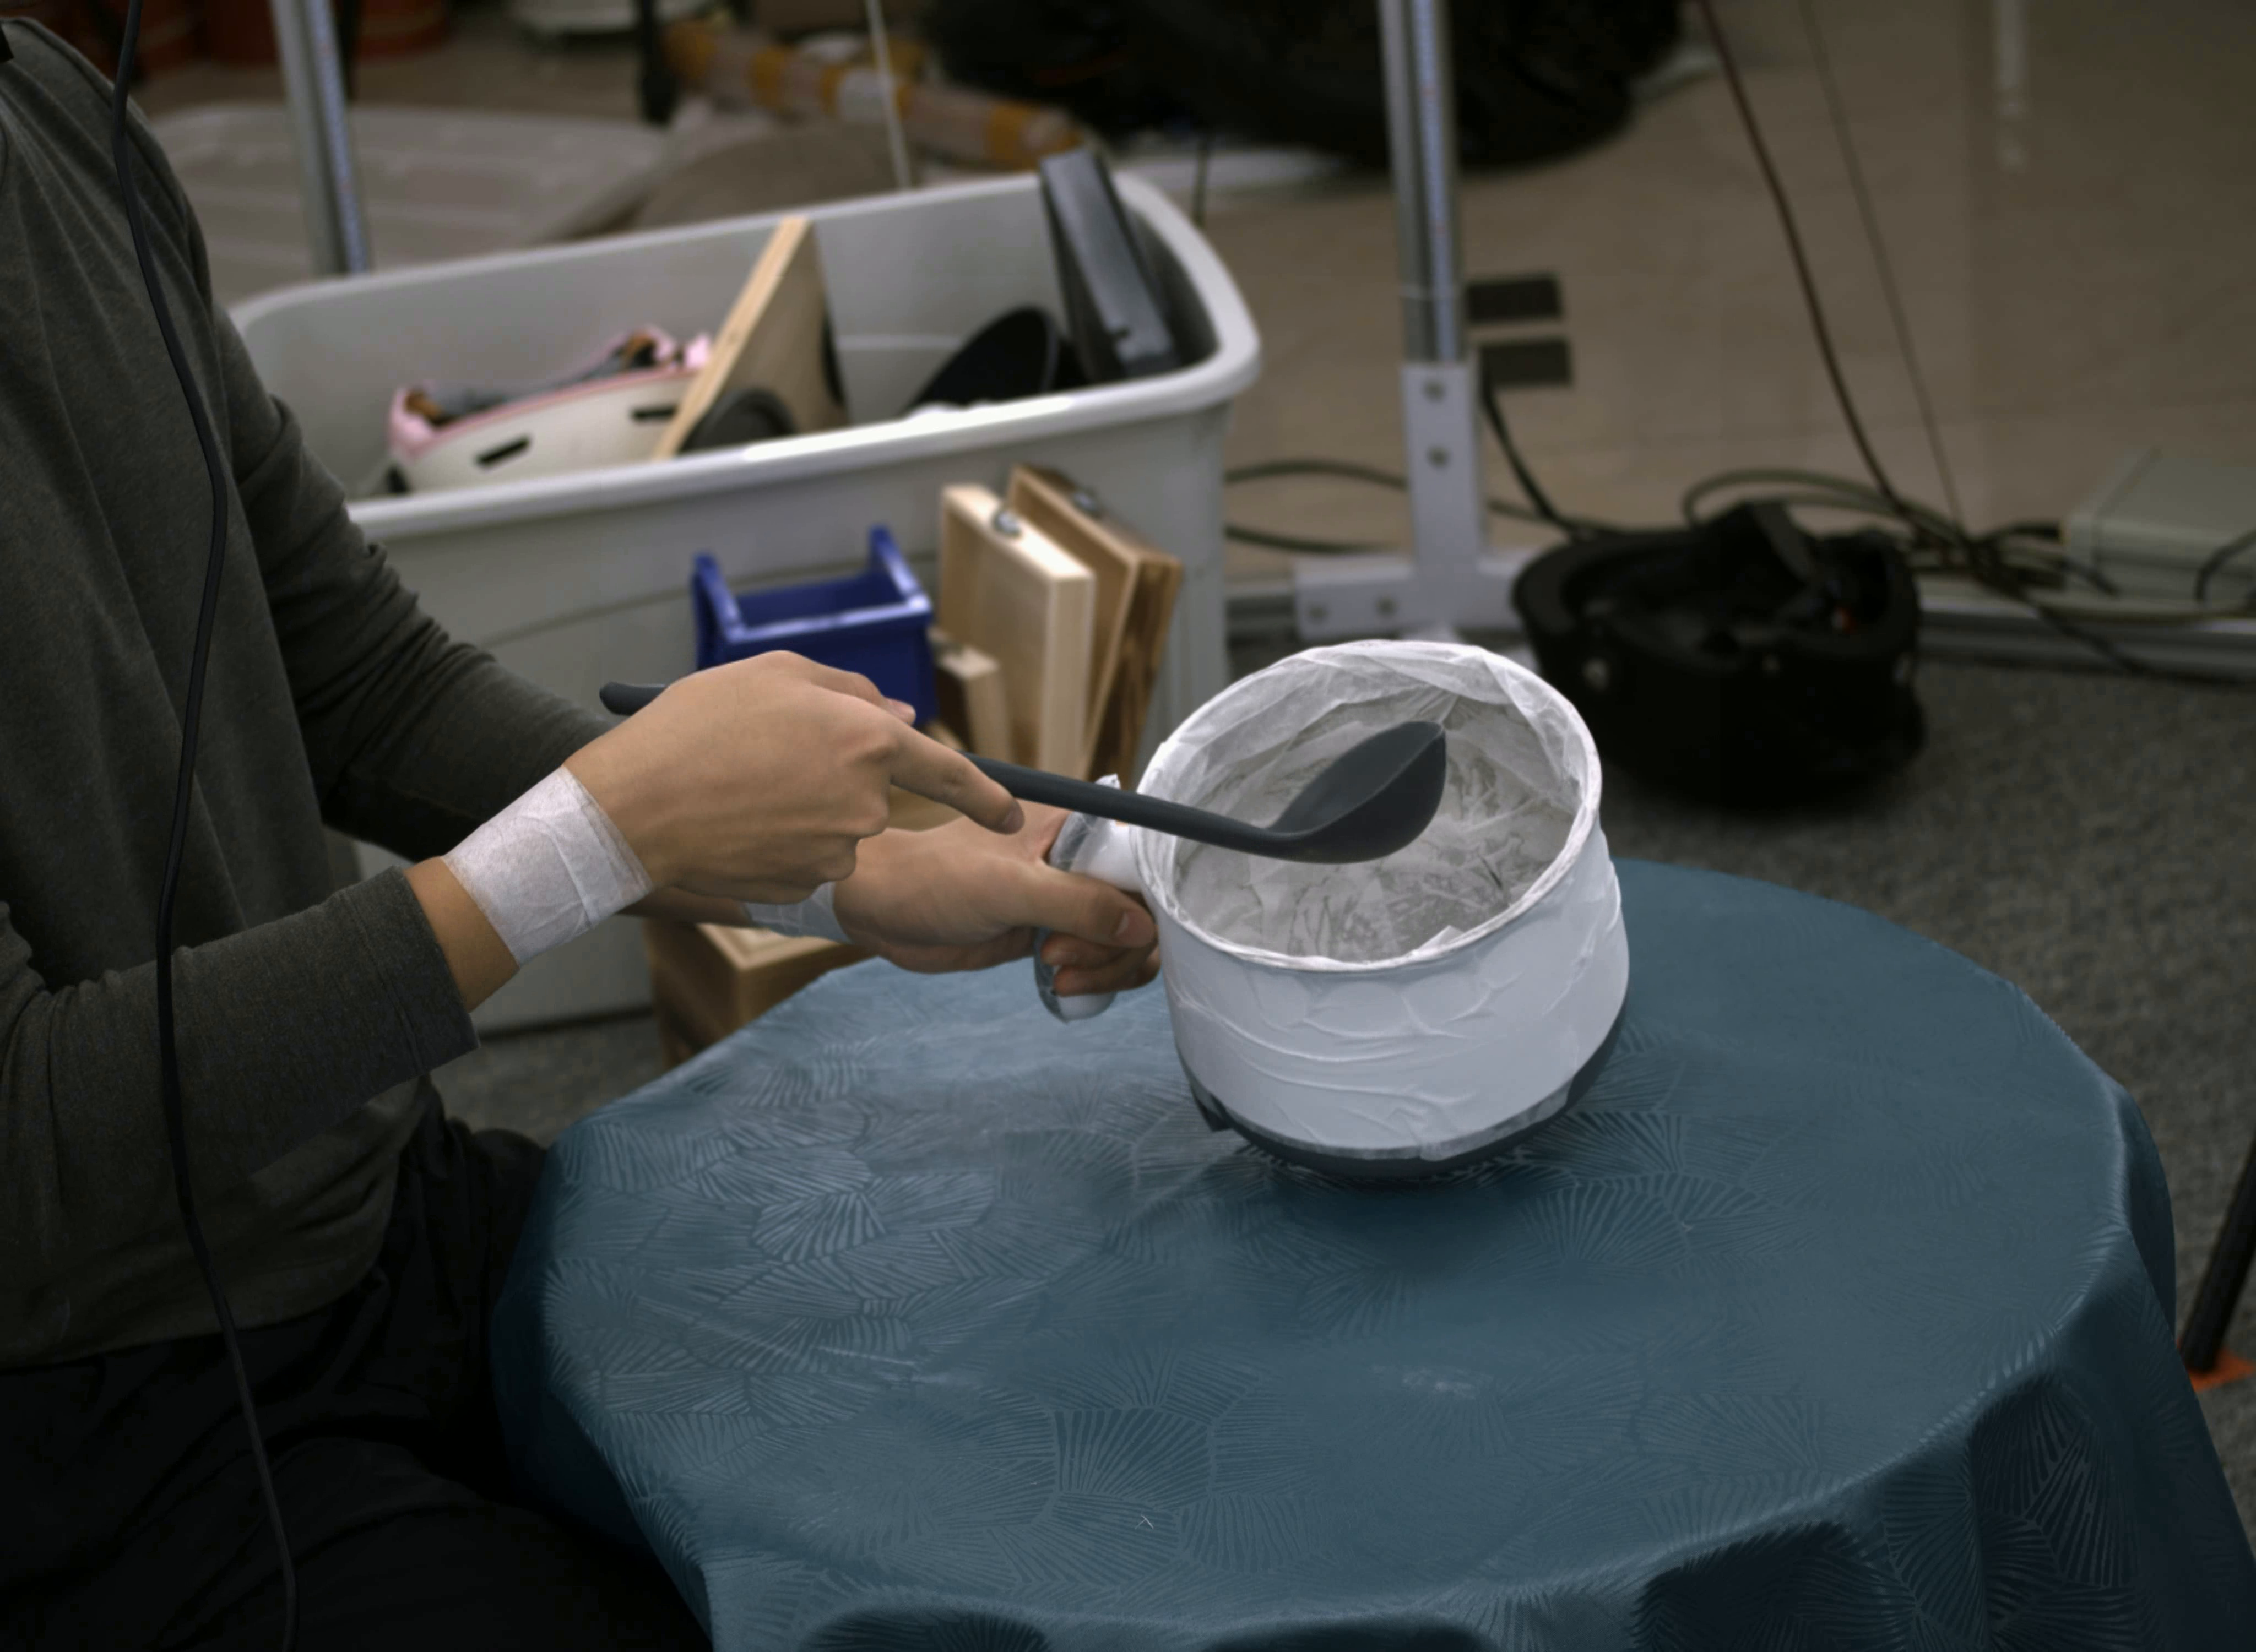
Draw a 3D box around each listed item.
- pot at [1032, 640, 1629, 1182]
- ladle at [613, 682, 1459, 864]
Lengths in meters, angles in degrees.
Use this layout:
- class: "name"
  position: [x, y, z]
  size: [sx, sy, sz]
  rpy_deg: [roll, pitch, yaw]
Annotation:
- class: "pot"
  position: [0.071, 0.035, 2.152]
  size: [0.233, 0.139, 0.175]
  rpy_deg: [2, 45, 15]
- class: "ladle"
  position: [-0.031, -0.038, 2.060]
  size: [0.314, 0.064, 0.086]
  rpy_deg: [12, 0, -16]
